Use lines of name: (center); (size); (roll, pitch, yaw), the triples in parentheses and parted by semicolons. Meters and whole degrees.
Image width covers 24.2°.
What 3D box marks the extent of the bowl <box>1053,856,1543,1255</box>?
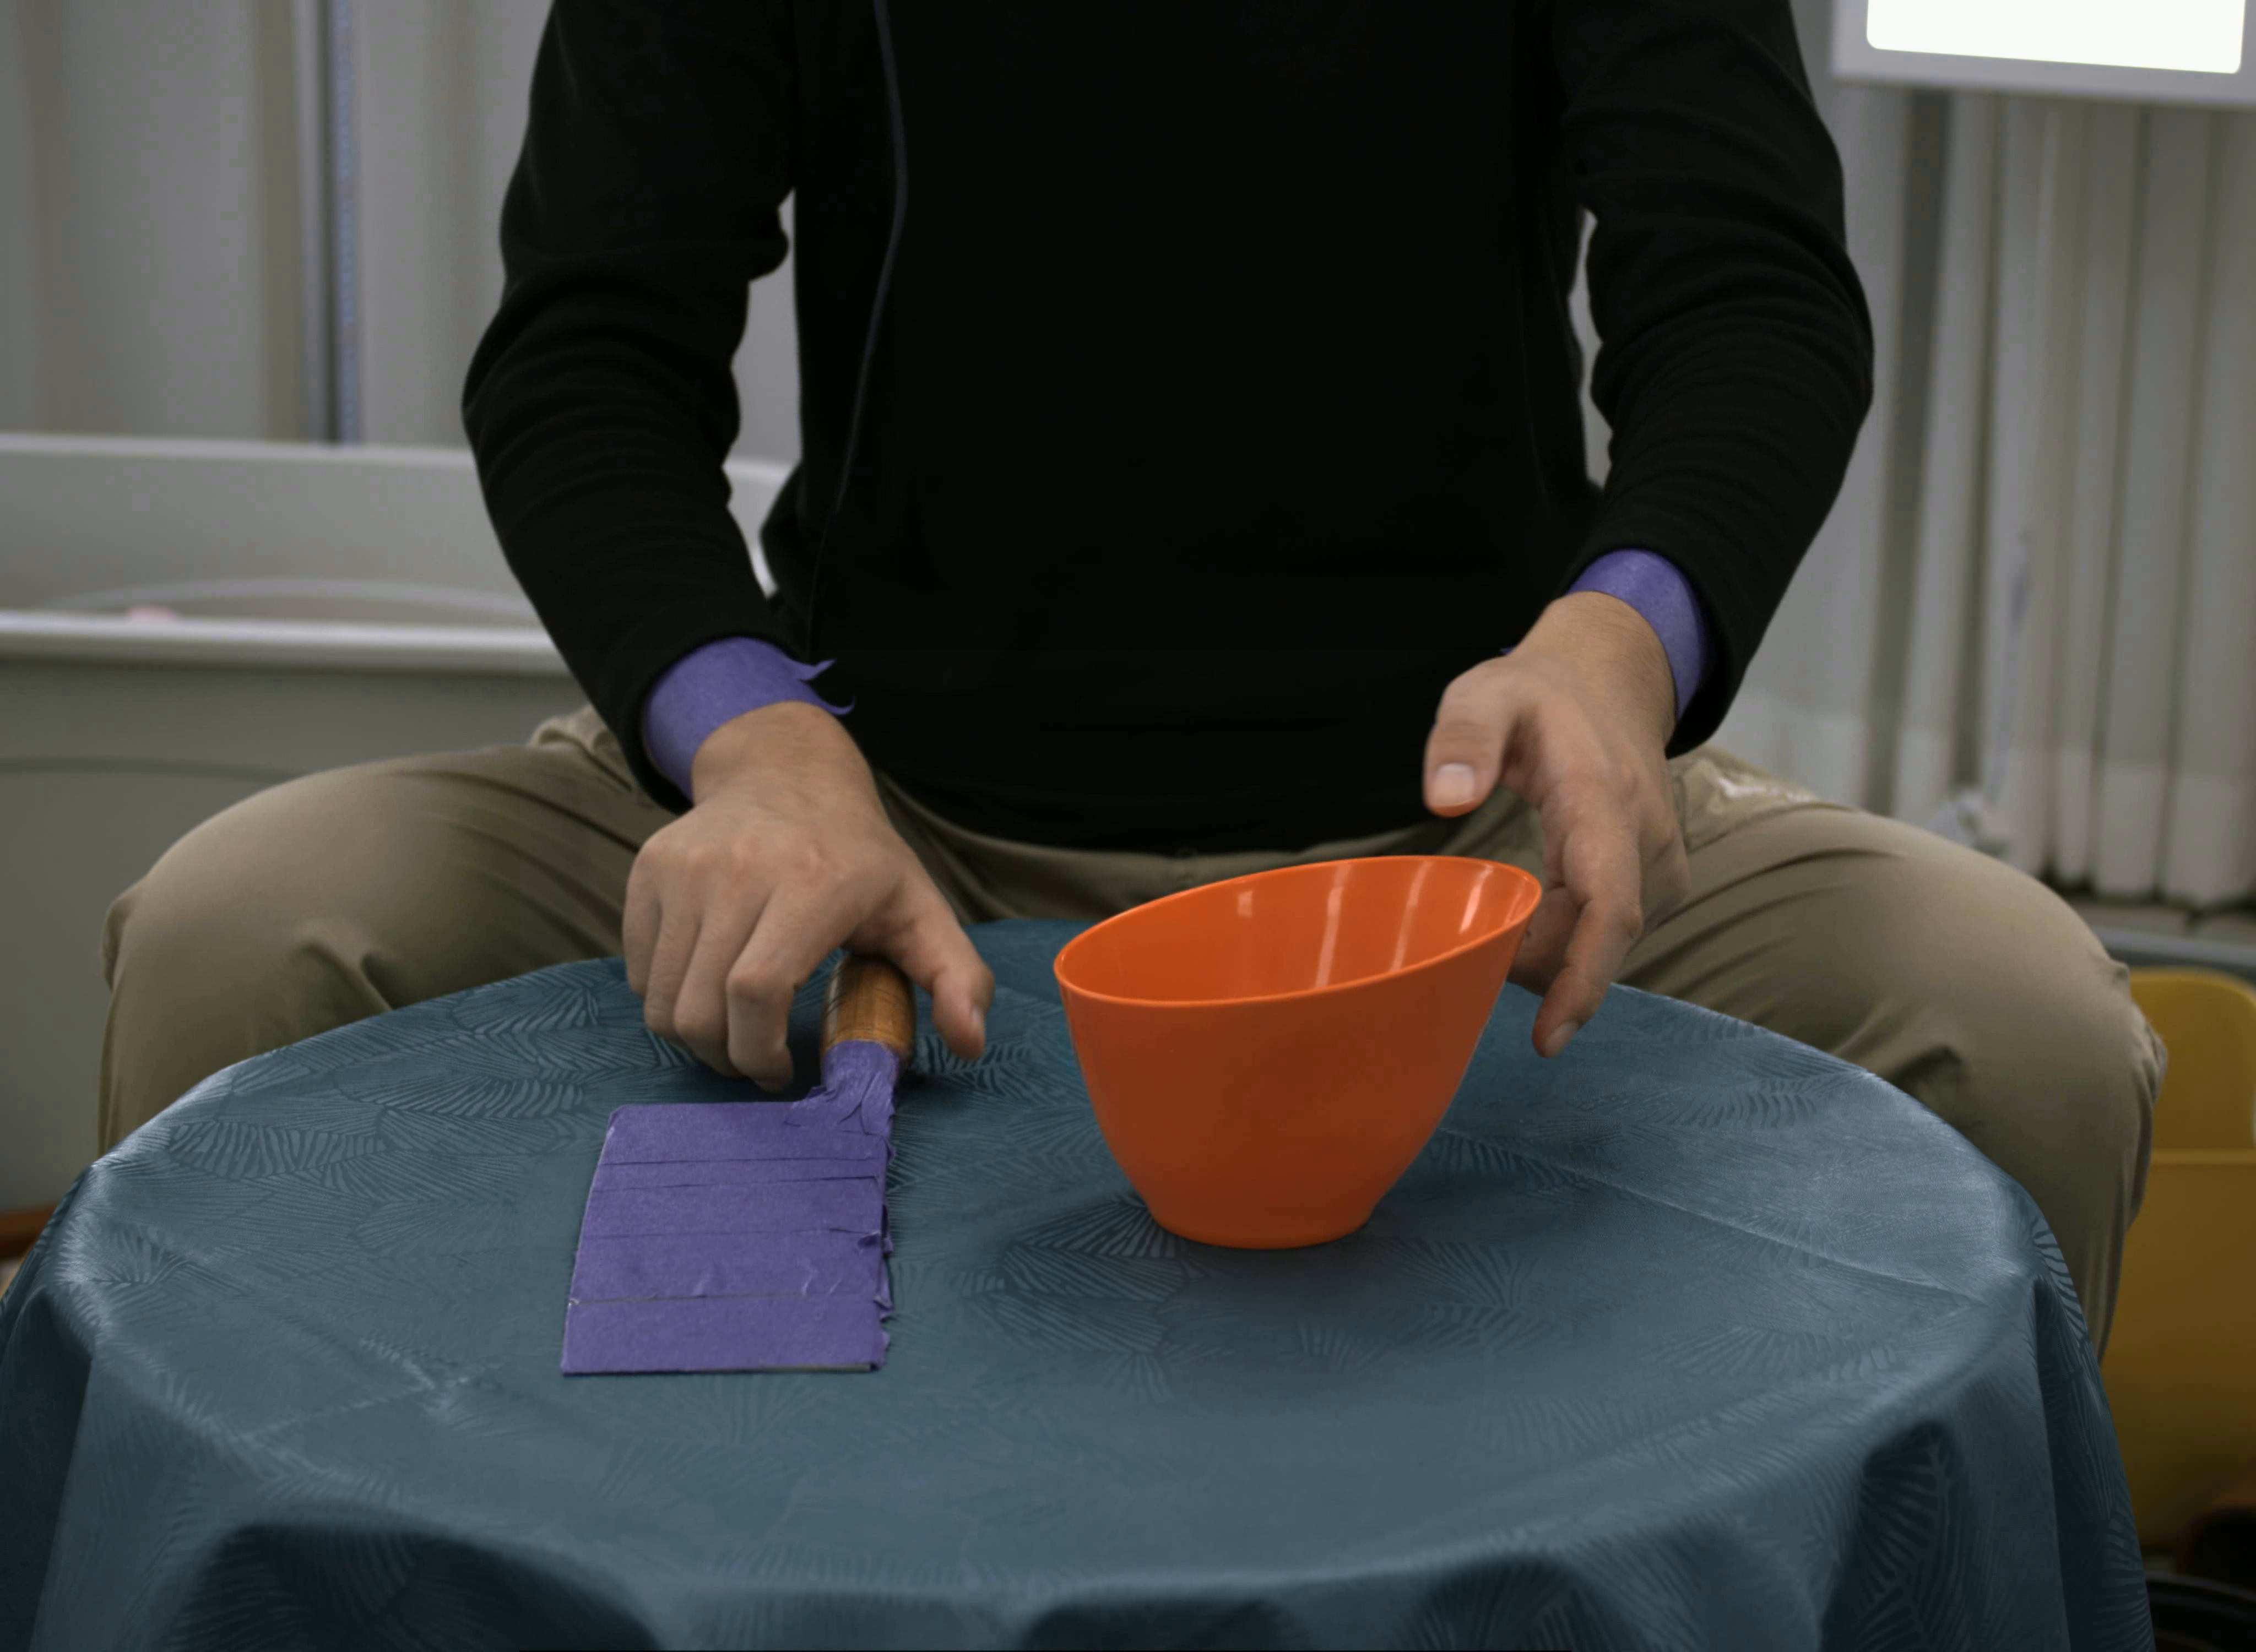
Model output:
bowl: (0.051, 0.070, 1.587); (0.147, 0.105, 0.147); (0, 17, 1)

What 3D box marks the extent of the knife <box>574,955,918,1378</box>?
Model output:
knife: (-0.115, 0.100, 1.613); (0.103, 0.032, 0.313); (1, 16, -2)
